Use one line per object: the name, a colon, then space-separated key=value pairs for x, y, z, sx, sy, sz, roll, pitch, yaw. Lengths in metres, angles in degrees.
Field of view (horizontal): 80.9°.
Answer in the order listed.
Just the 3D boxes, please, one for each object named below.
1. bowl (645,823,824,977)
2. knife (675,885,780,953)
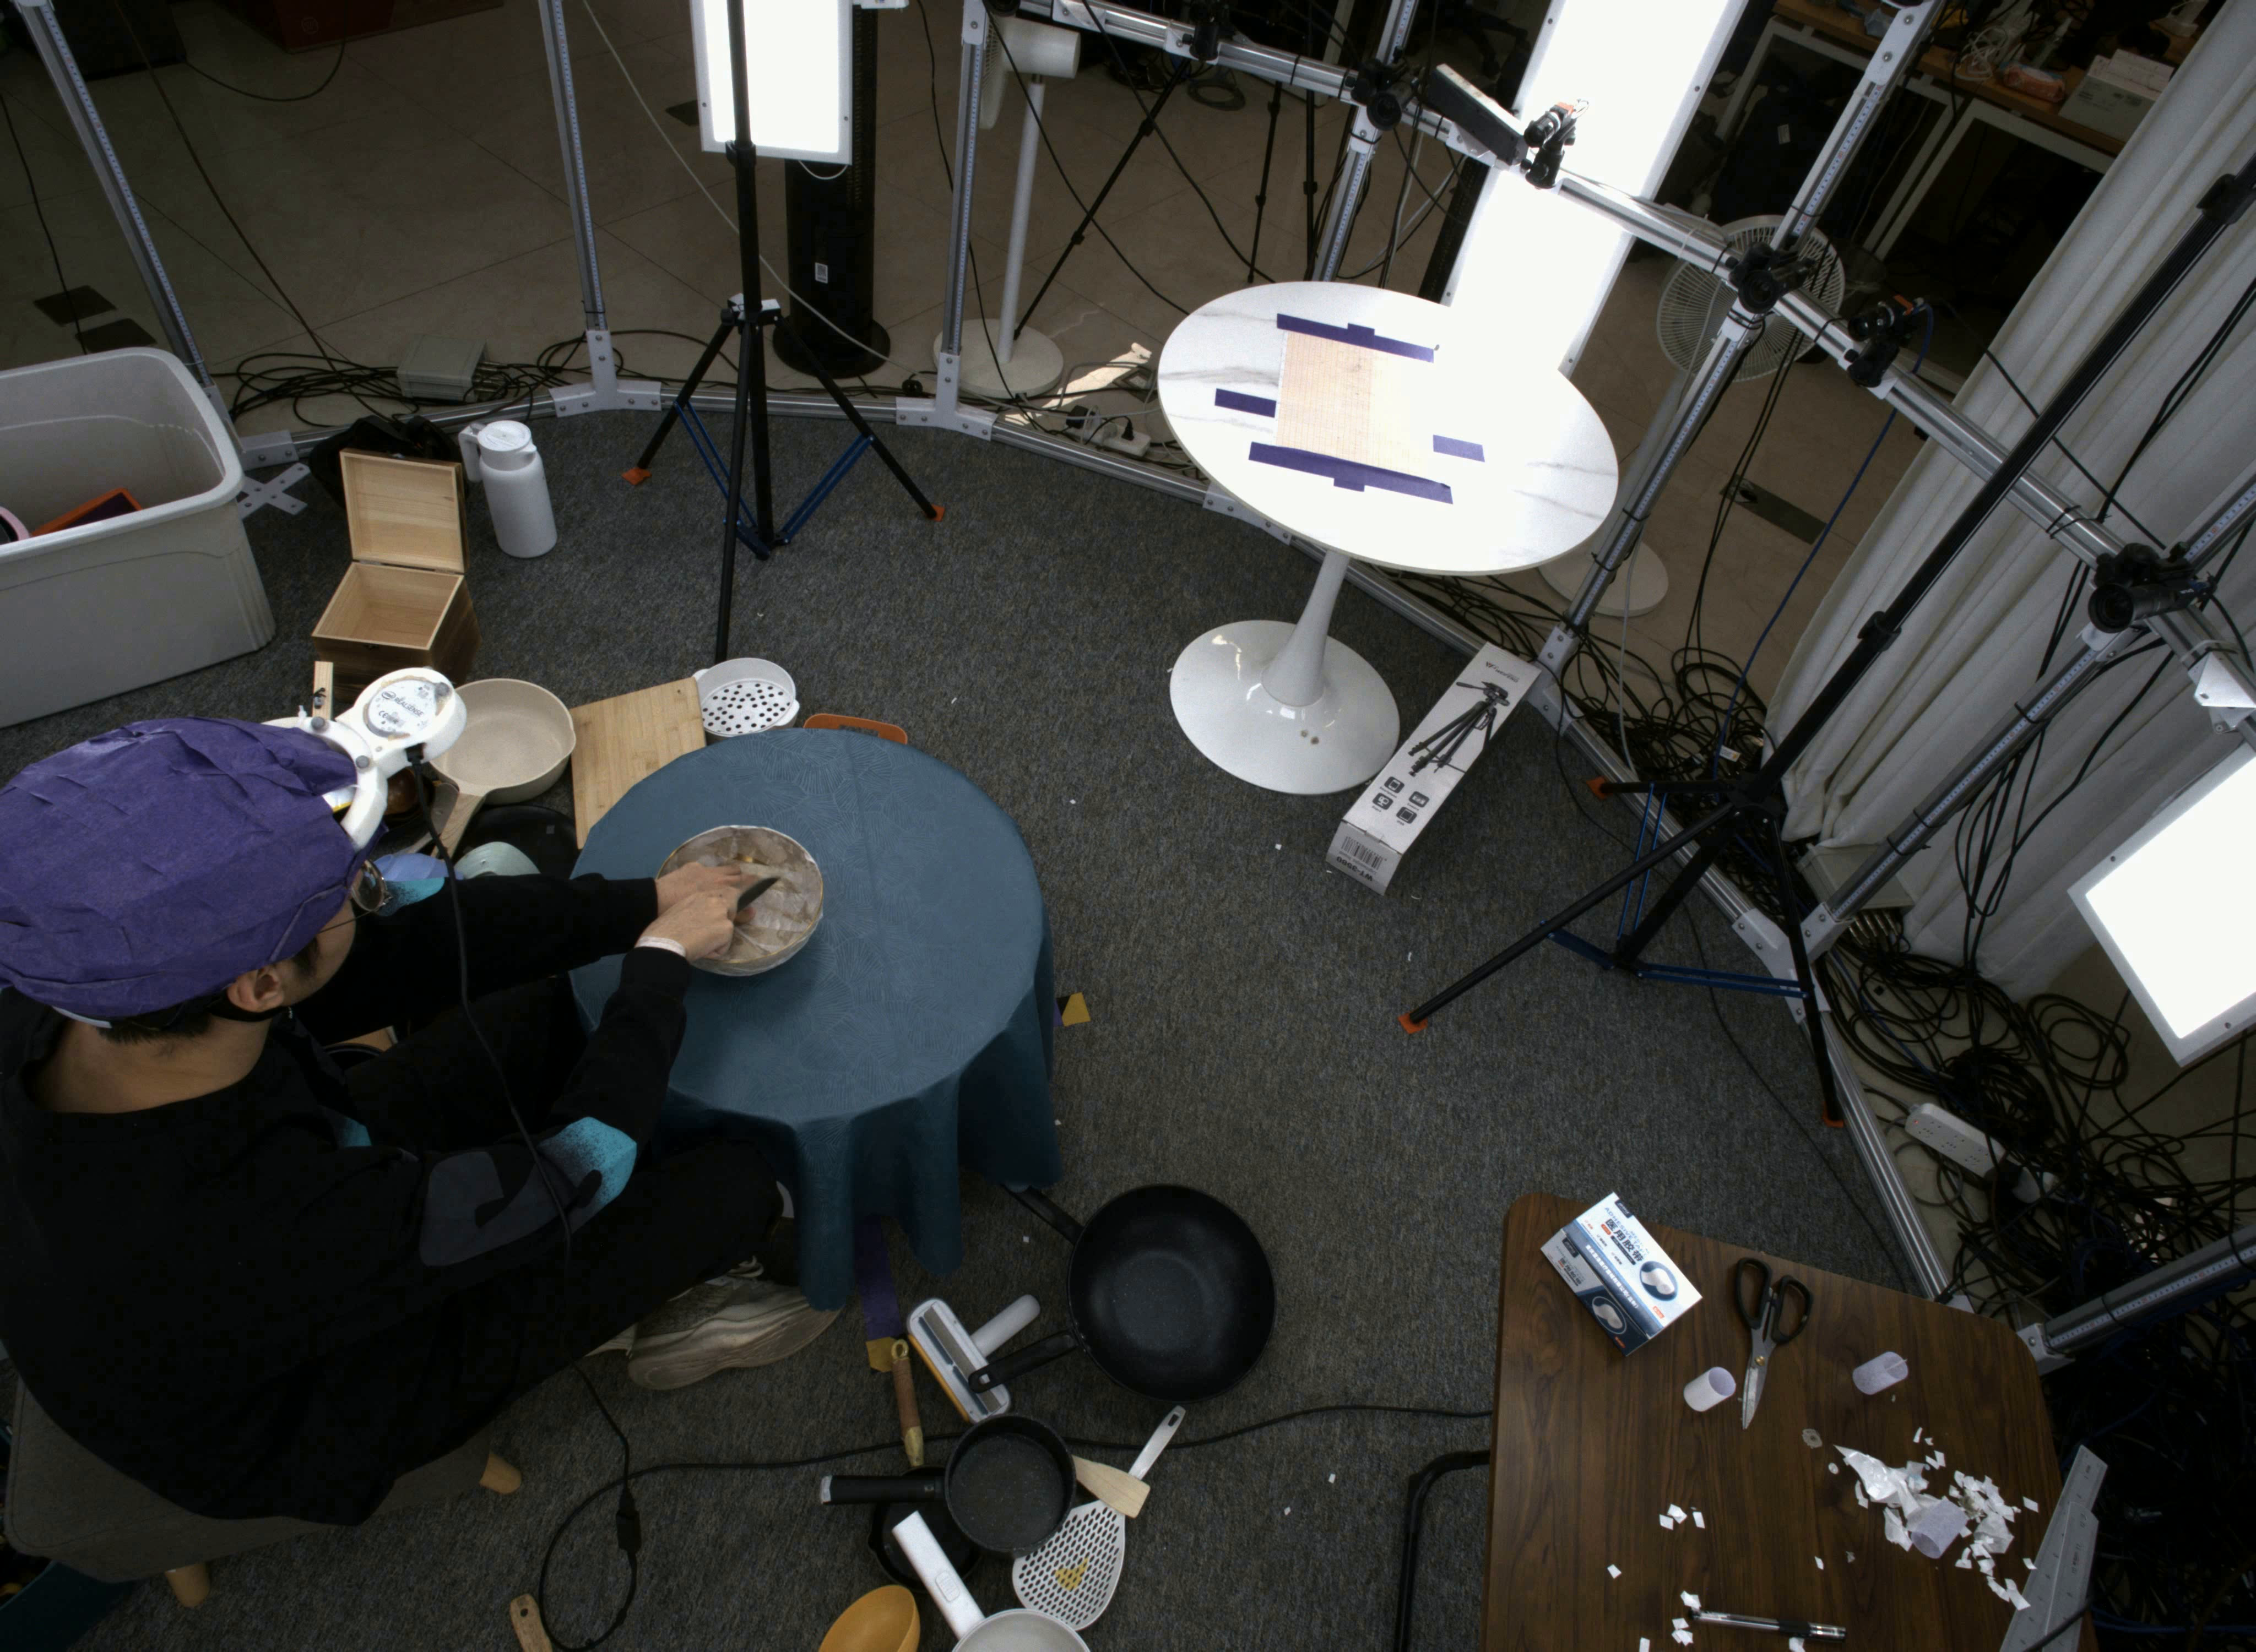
bowl: x=-0.473 y=0.104 z=1.559 sx=0.214 sy=0.096 sz=0.211 roll=9 pitch=51 yaw=-10
knife: x=-0.465 y=0.099 z=1.515 sx=0.017 sy=0.027 sz=0.225 roll=14 pitch=19 yaw=11
